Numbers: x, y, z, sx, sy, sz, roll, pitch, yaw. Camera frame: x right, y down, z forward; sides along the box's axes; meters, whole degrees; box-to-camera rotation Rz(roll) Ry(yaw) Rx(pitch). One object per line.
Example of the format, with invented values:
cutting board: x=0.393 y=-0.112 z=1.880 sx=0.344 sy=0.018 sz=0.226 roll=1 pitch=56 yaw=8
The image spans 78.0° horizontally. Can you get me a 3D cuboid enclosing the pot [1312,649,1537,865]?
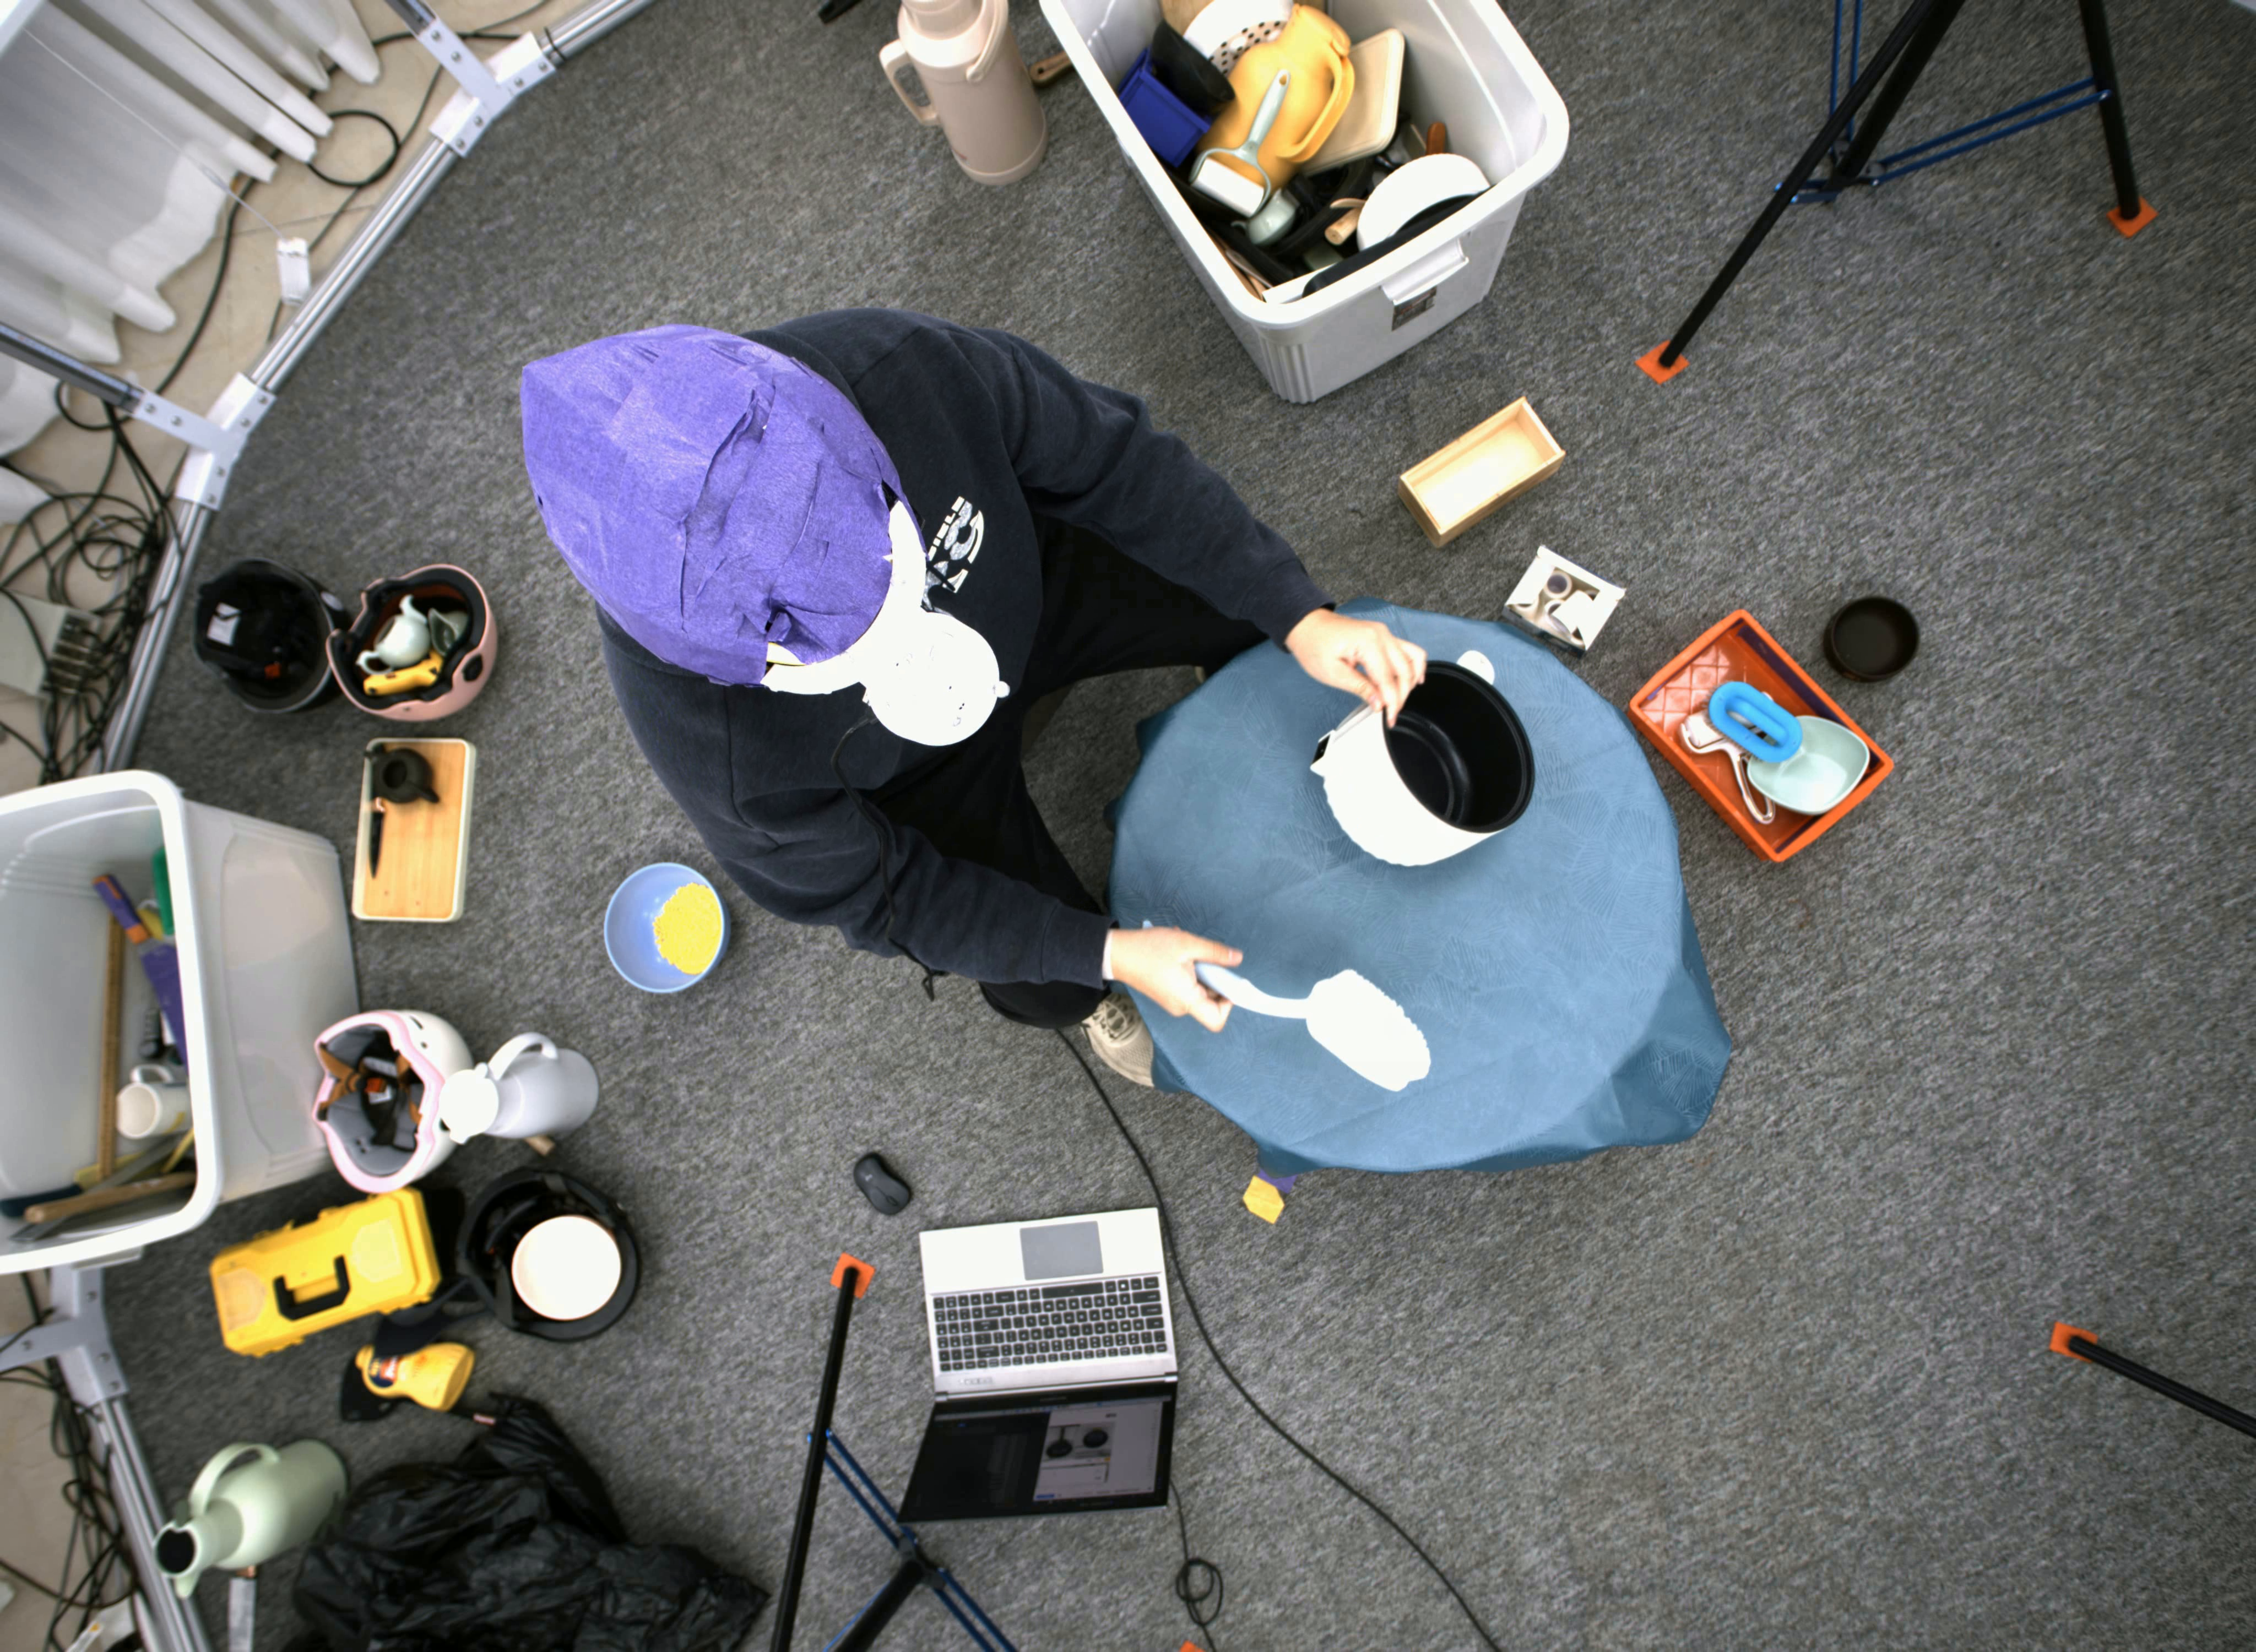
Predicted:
pot: x=0.297 y=-0.056 z=1.371 sx=0.191 sy=0.145 sz=0.235 roll=27 pitch=61 yaw=-12

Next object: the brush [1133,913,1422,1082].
brush: x=0.148 y=0.146 z=1.358 sx=0.324 sy=0.085 sz=0.083 roll=27 pitch=91 yaw=29
